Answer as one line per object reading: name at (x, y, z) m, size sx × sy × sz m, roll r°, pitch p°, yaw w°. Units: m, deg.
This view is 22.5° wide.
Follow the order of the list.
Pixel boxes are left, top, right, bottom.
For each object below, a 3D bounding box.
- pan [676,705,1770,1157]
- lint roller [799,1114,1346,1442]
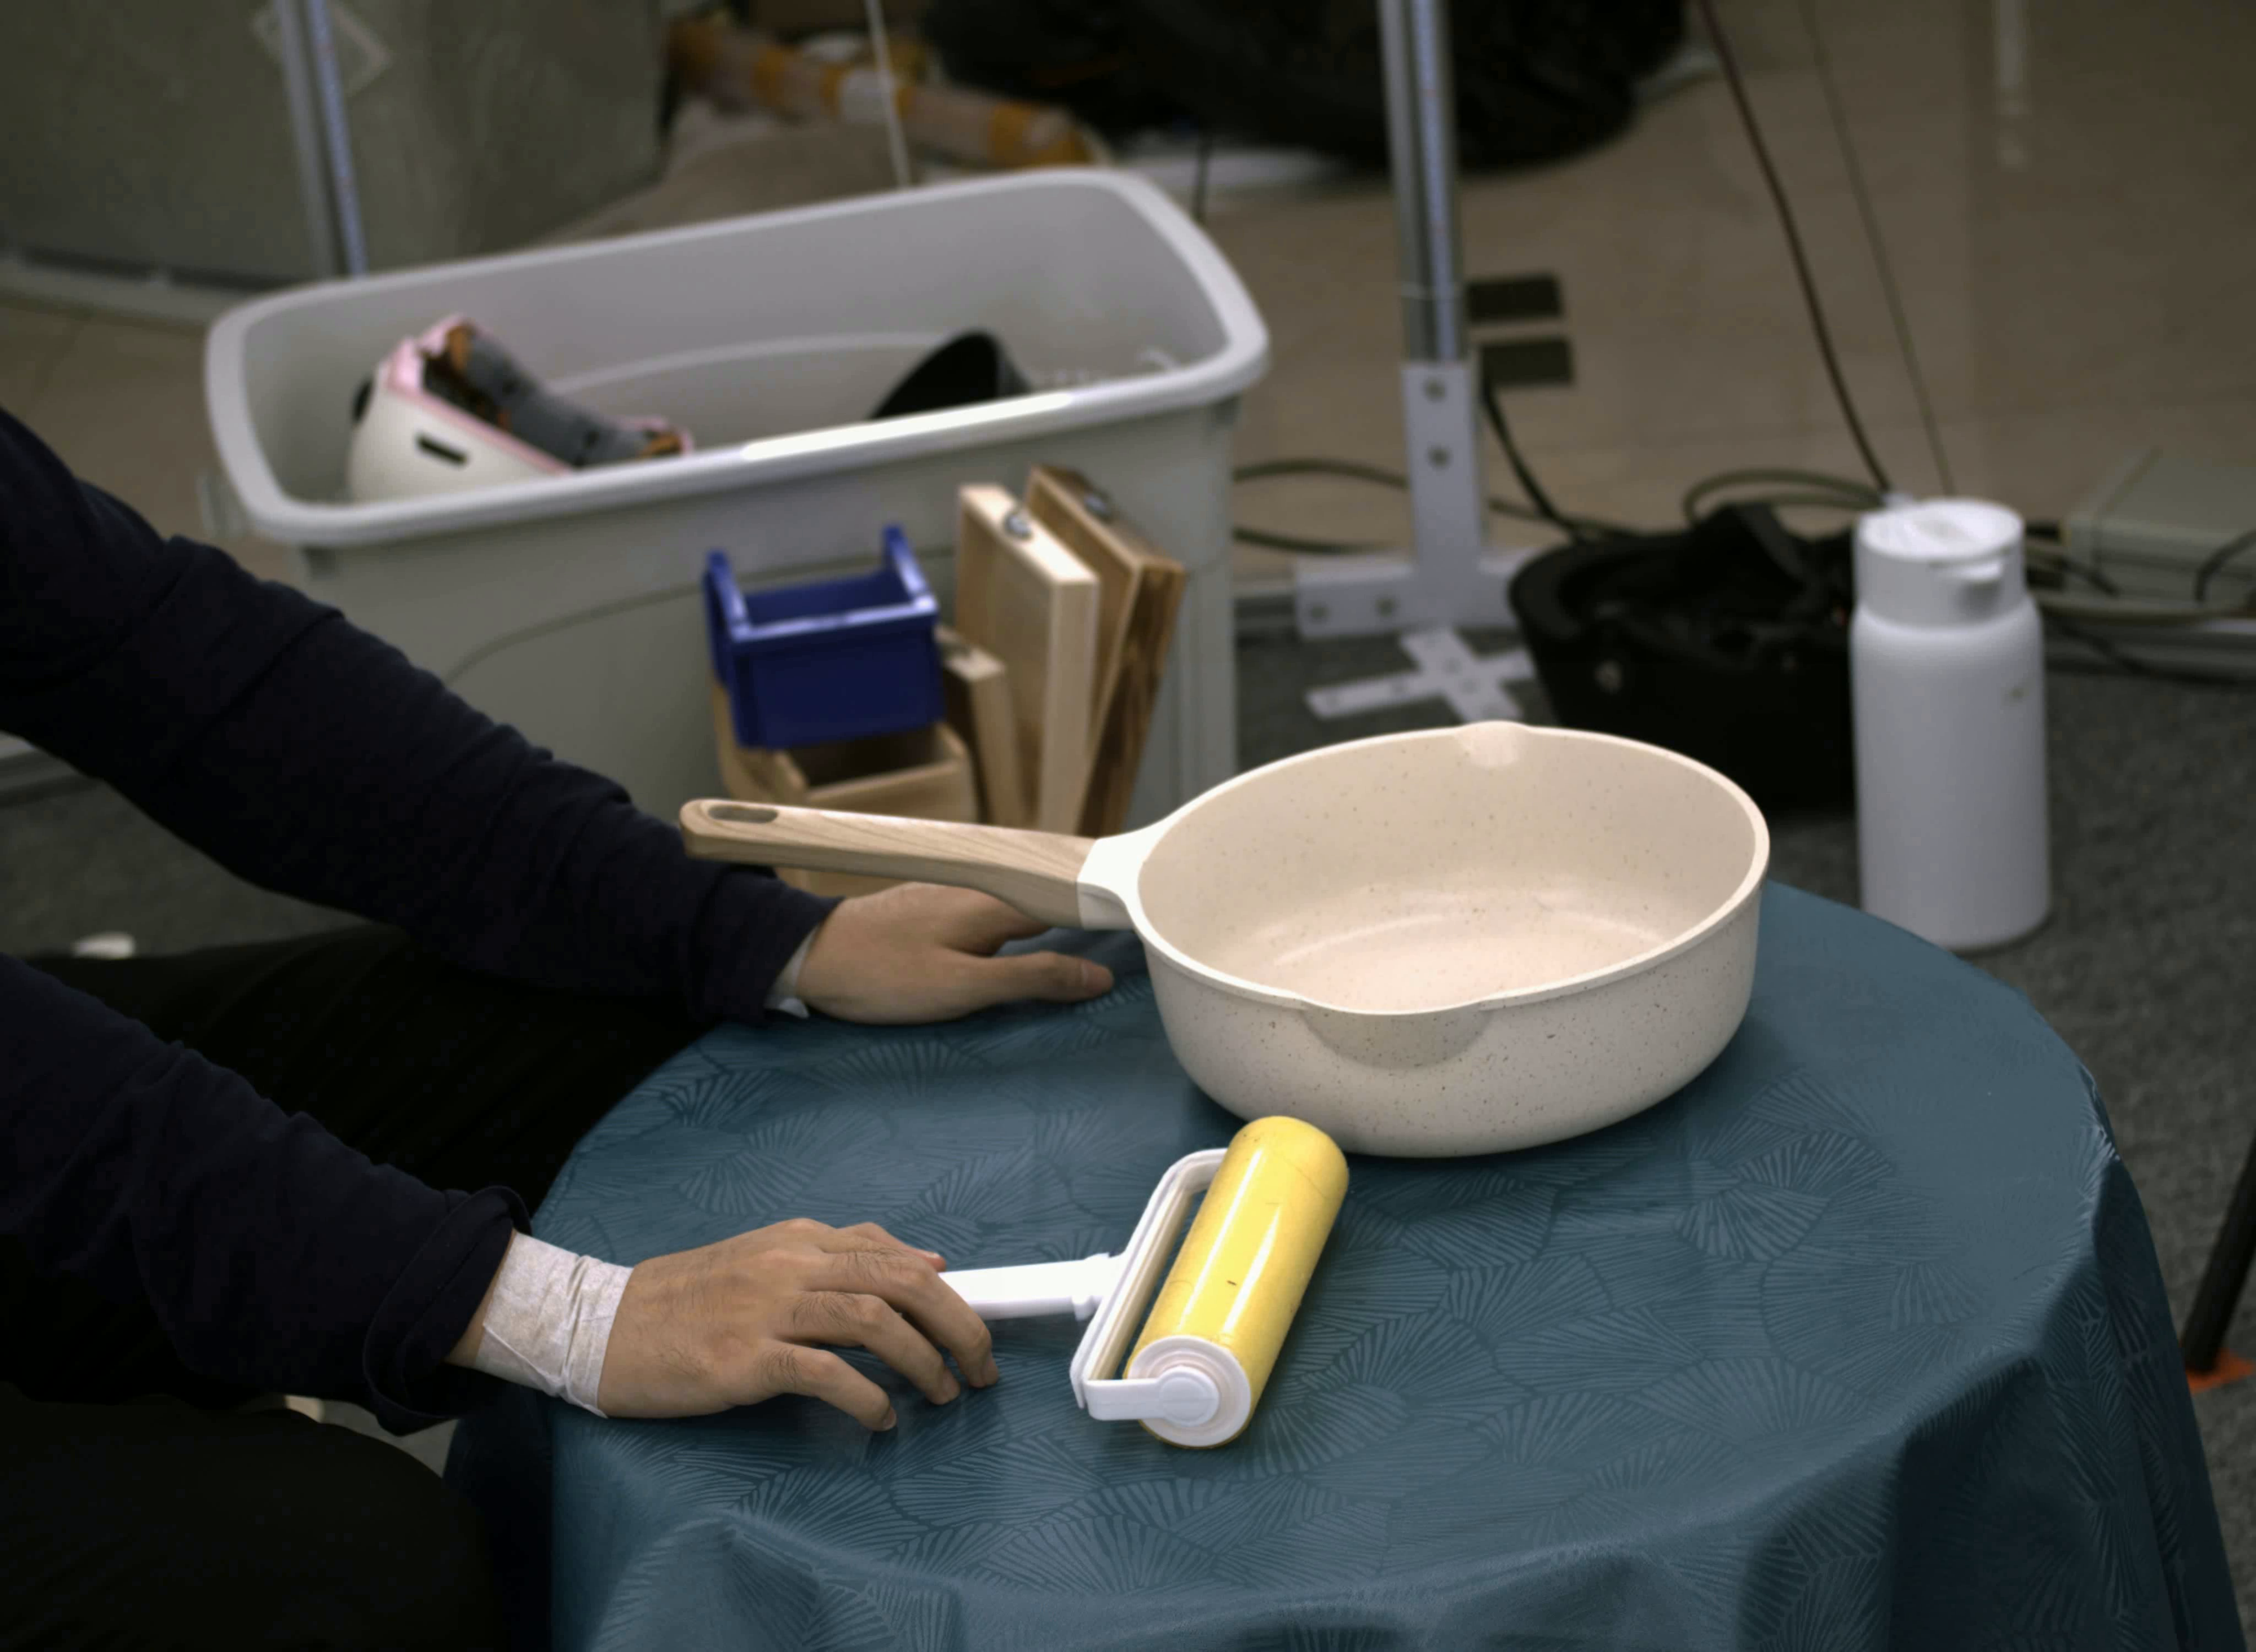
pan at (0.038, 0.041, 2.237) m, size 0.434 × 0.104 × 0.259 m, roll -1°, pitch 28°, yaw 13°
lint roller at (-0.030, 0.163, 2.051) m, size 0.191 × 0.052 × 0.172 m, roll -1°, pitch 25°, yaw 15°
